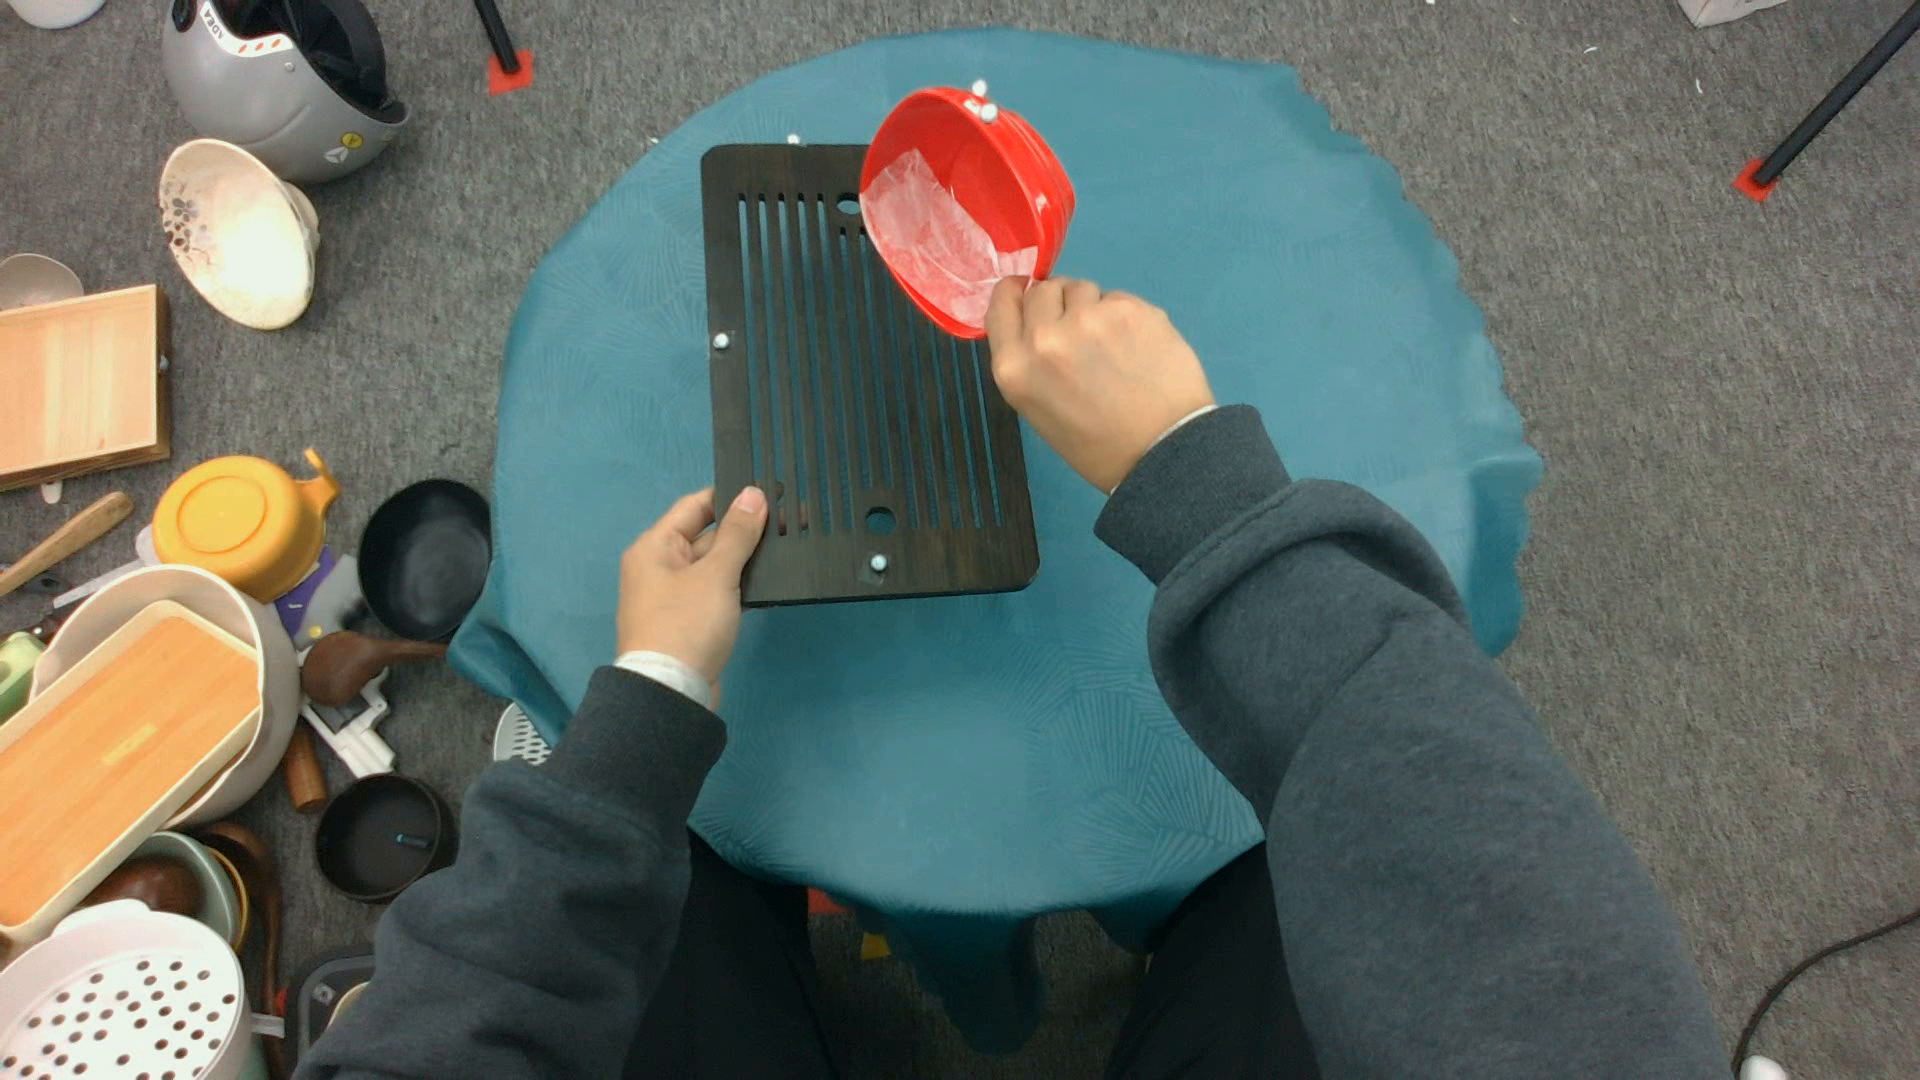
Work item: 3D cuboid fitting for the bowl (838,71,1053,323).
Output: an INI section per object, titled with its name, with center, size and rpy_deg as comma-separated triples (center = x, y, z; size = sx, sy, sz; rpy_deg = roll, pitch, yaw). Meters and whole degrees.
[bowl]
center = 0.000, -0.168, 0.660
size = 0.119, 0.118, 0.051
rpy_deg = 45, 50, 16

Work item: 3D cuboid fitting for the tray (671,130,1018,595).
[tray]
center = -0.072, -0.111, 0.780
size = 0.170, 0.018, 0.307
rpy_deg = -3, 64, -10
